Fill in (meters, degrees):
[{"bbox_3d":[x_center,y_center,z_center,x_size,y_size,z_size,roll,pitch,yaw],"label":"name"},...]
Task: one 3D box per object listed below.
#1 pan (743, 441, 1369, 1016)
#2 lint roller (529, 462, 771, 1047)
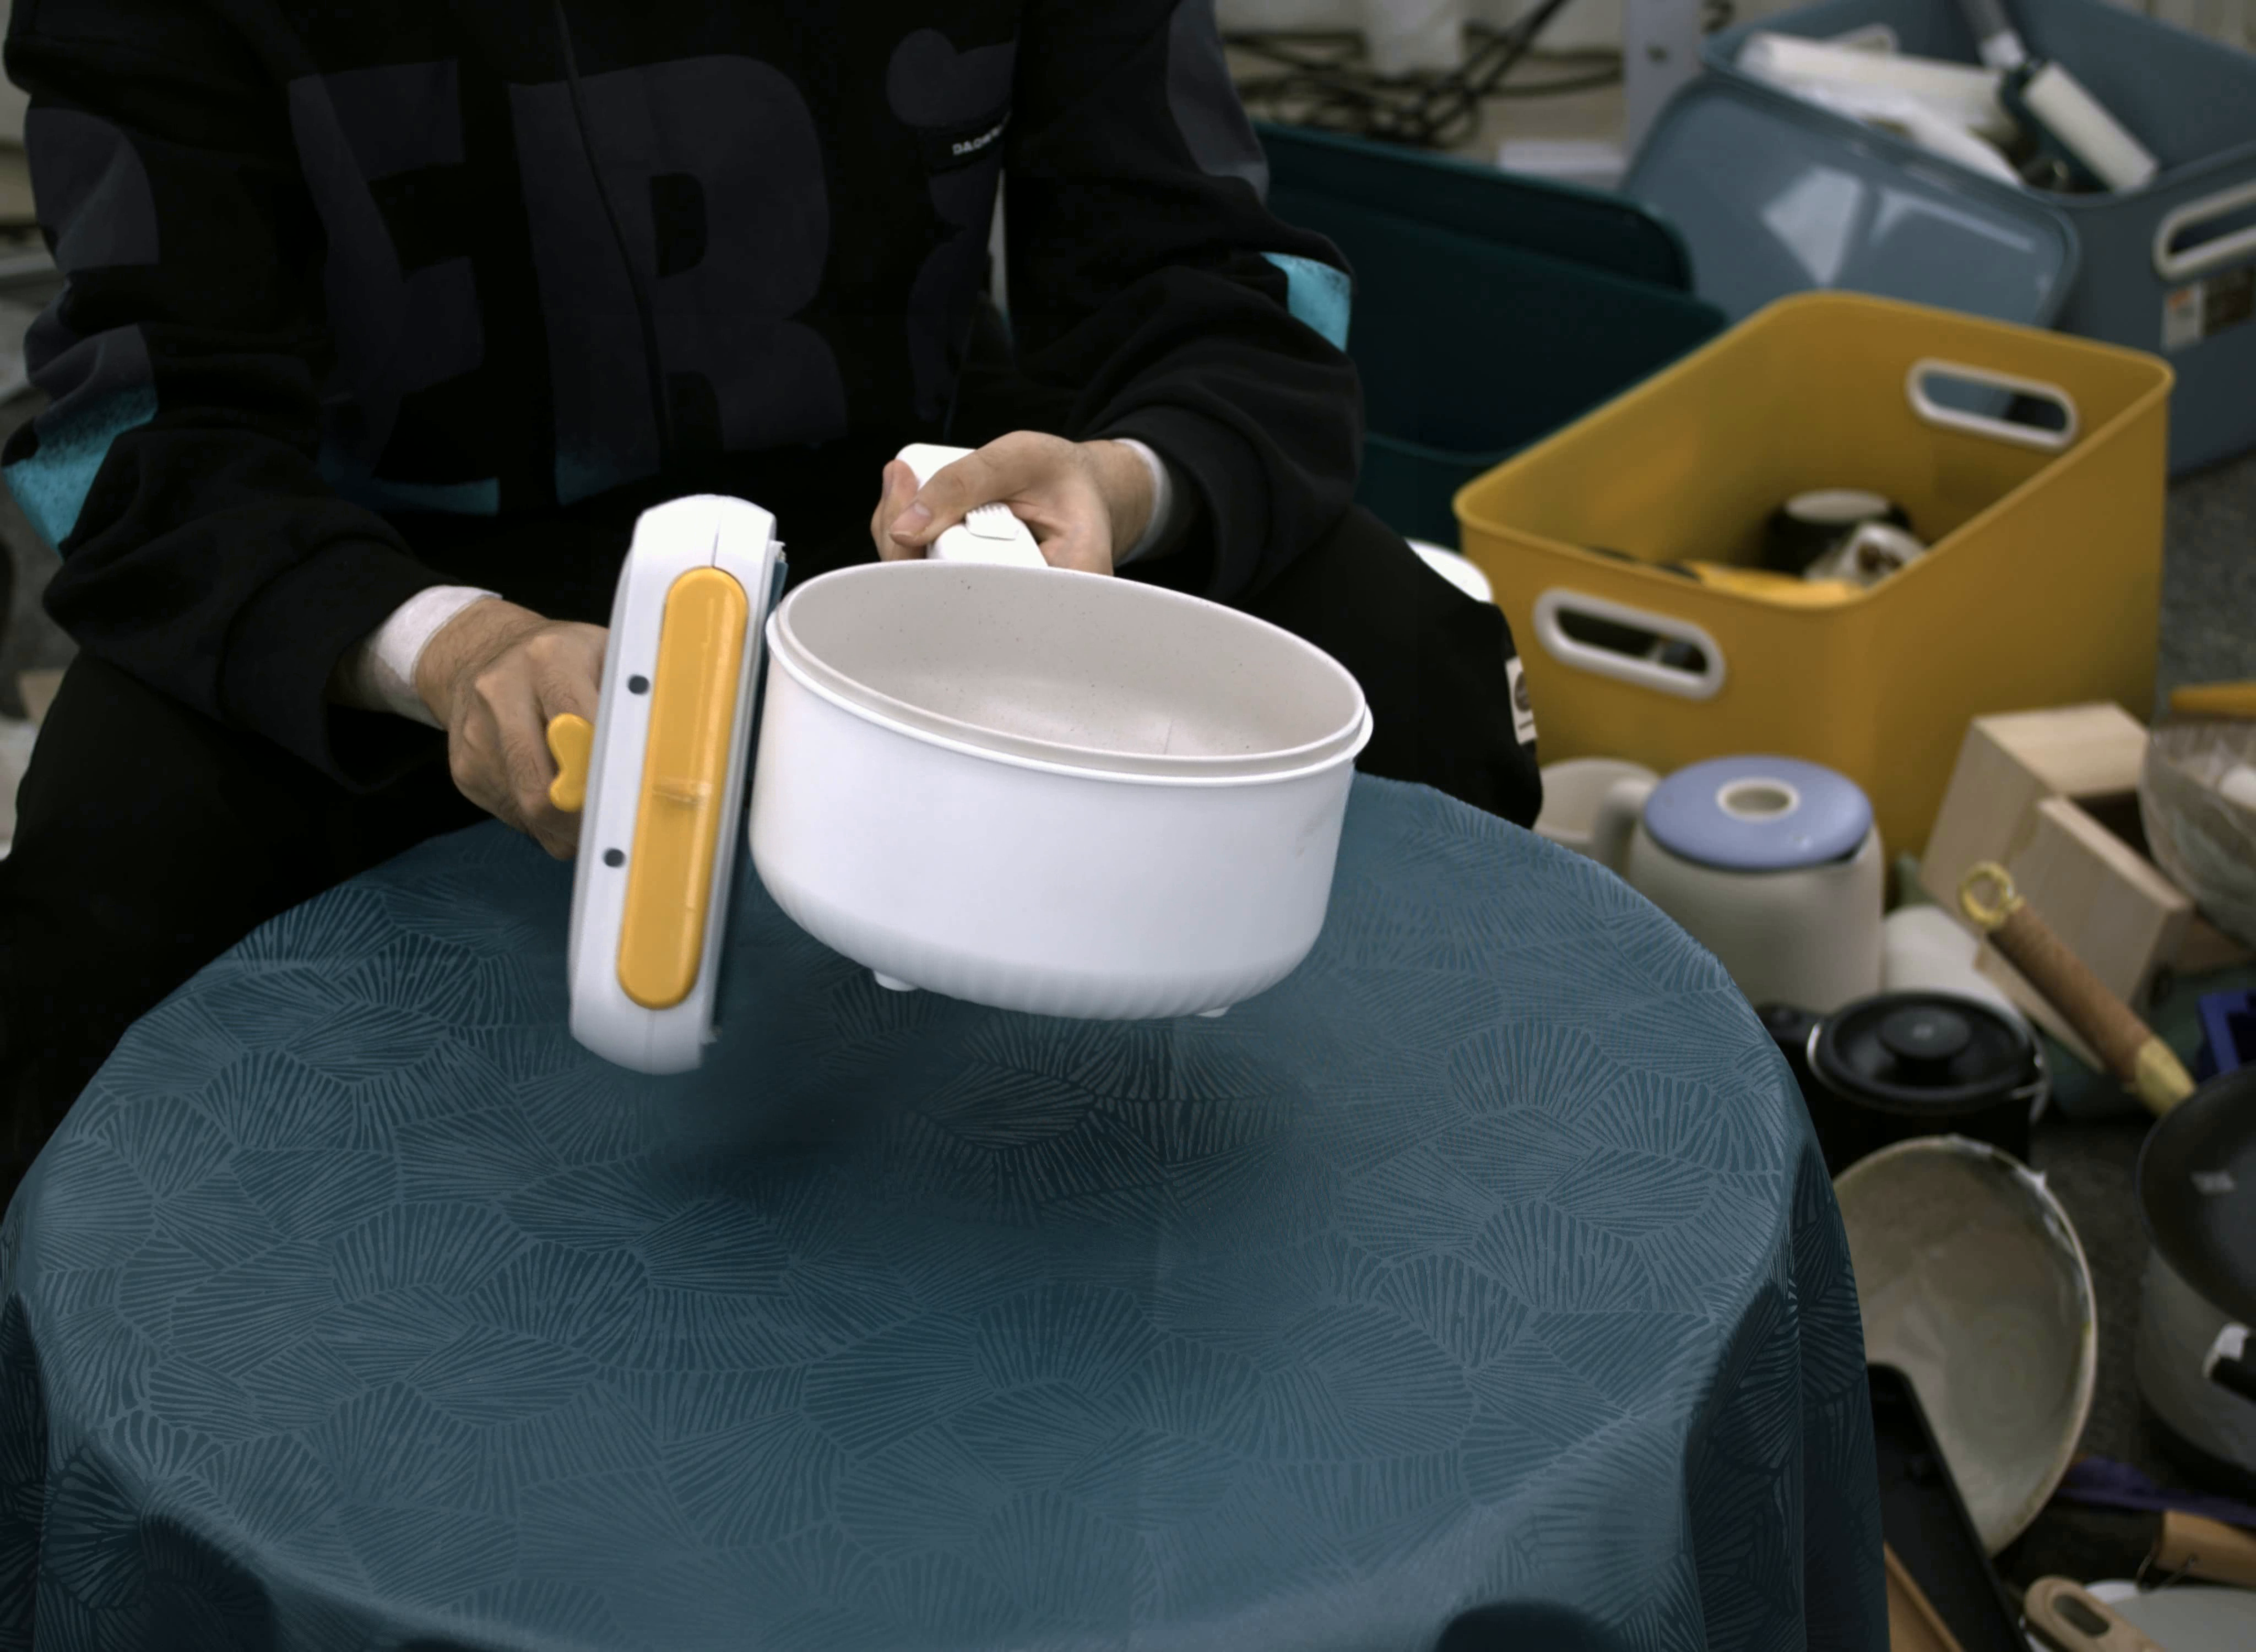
[{"bbox_3d":[-0.042,-0.037,1.922,0.201,0.101,0.358,7,18,-14],"label":"pan"},{"bbox_3d":[-0.168,-0.023,1.913,0.074,0.194,0.191,3,-3,-10],"label":"lint roller"}]
